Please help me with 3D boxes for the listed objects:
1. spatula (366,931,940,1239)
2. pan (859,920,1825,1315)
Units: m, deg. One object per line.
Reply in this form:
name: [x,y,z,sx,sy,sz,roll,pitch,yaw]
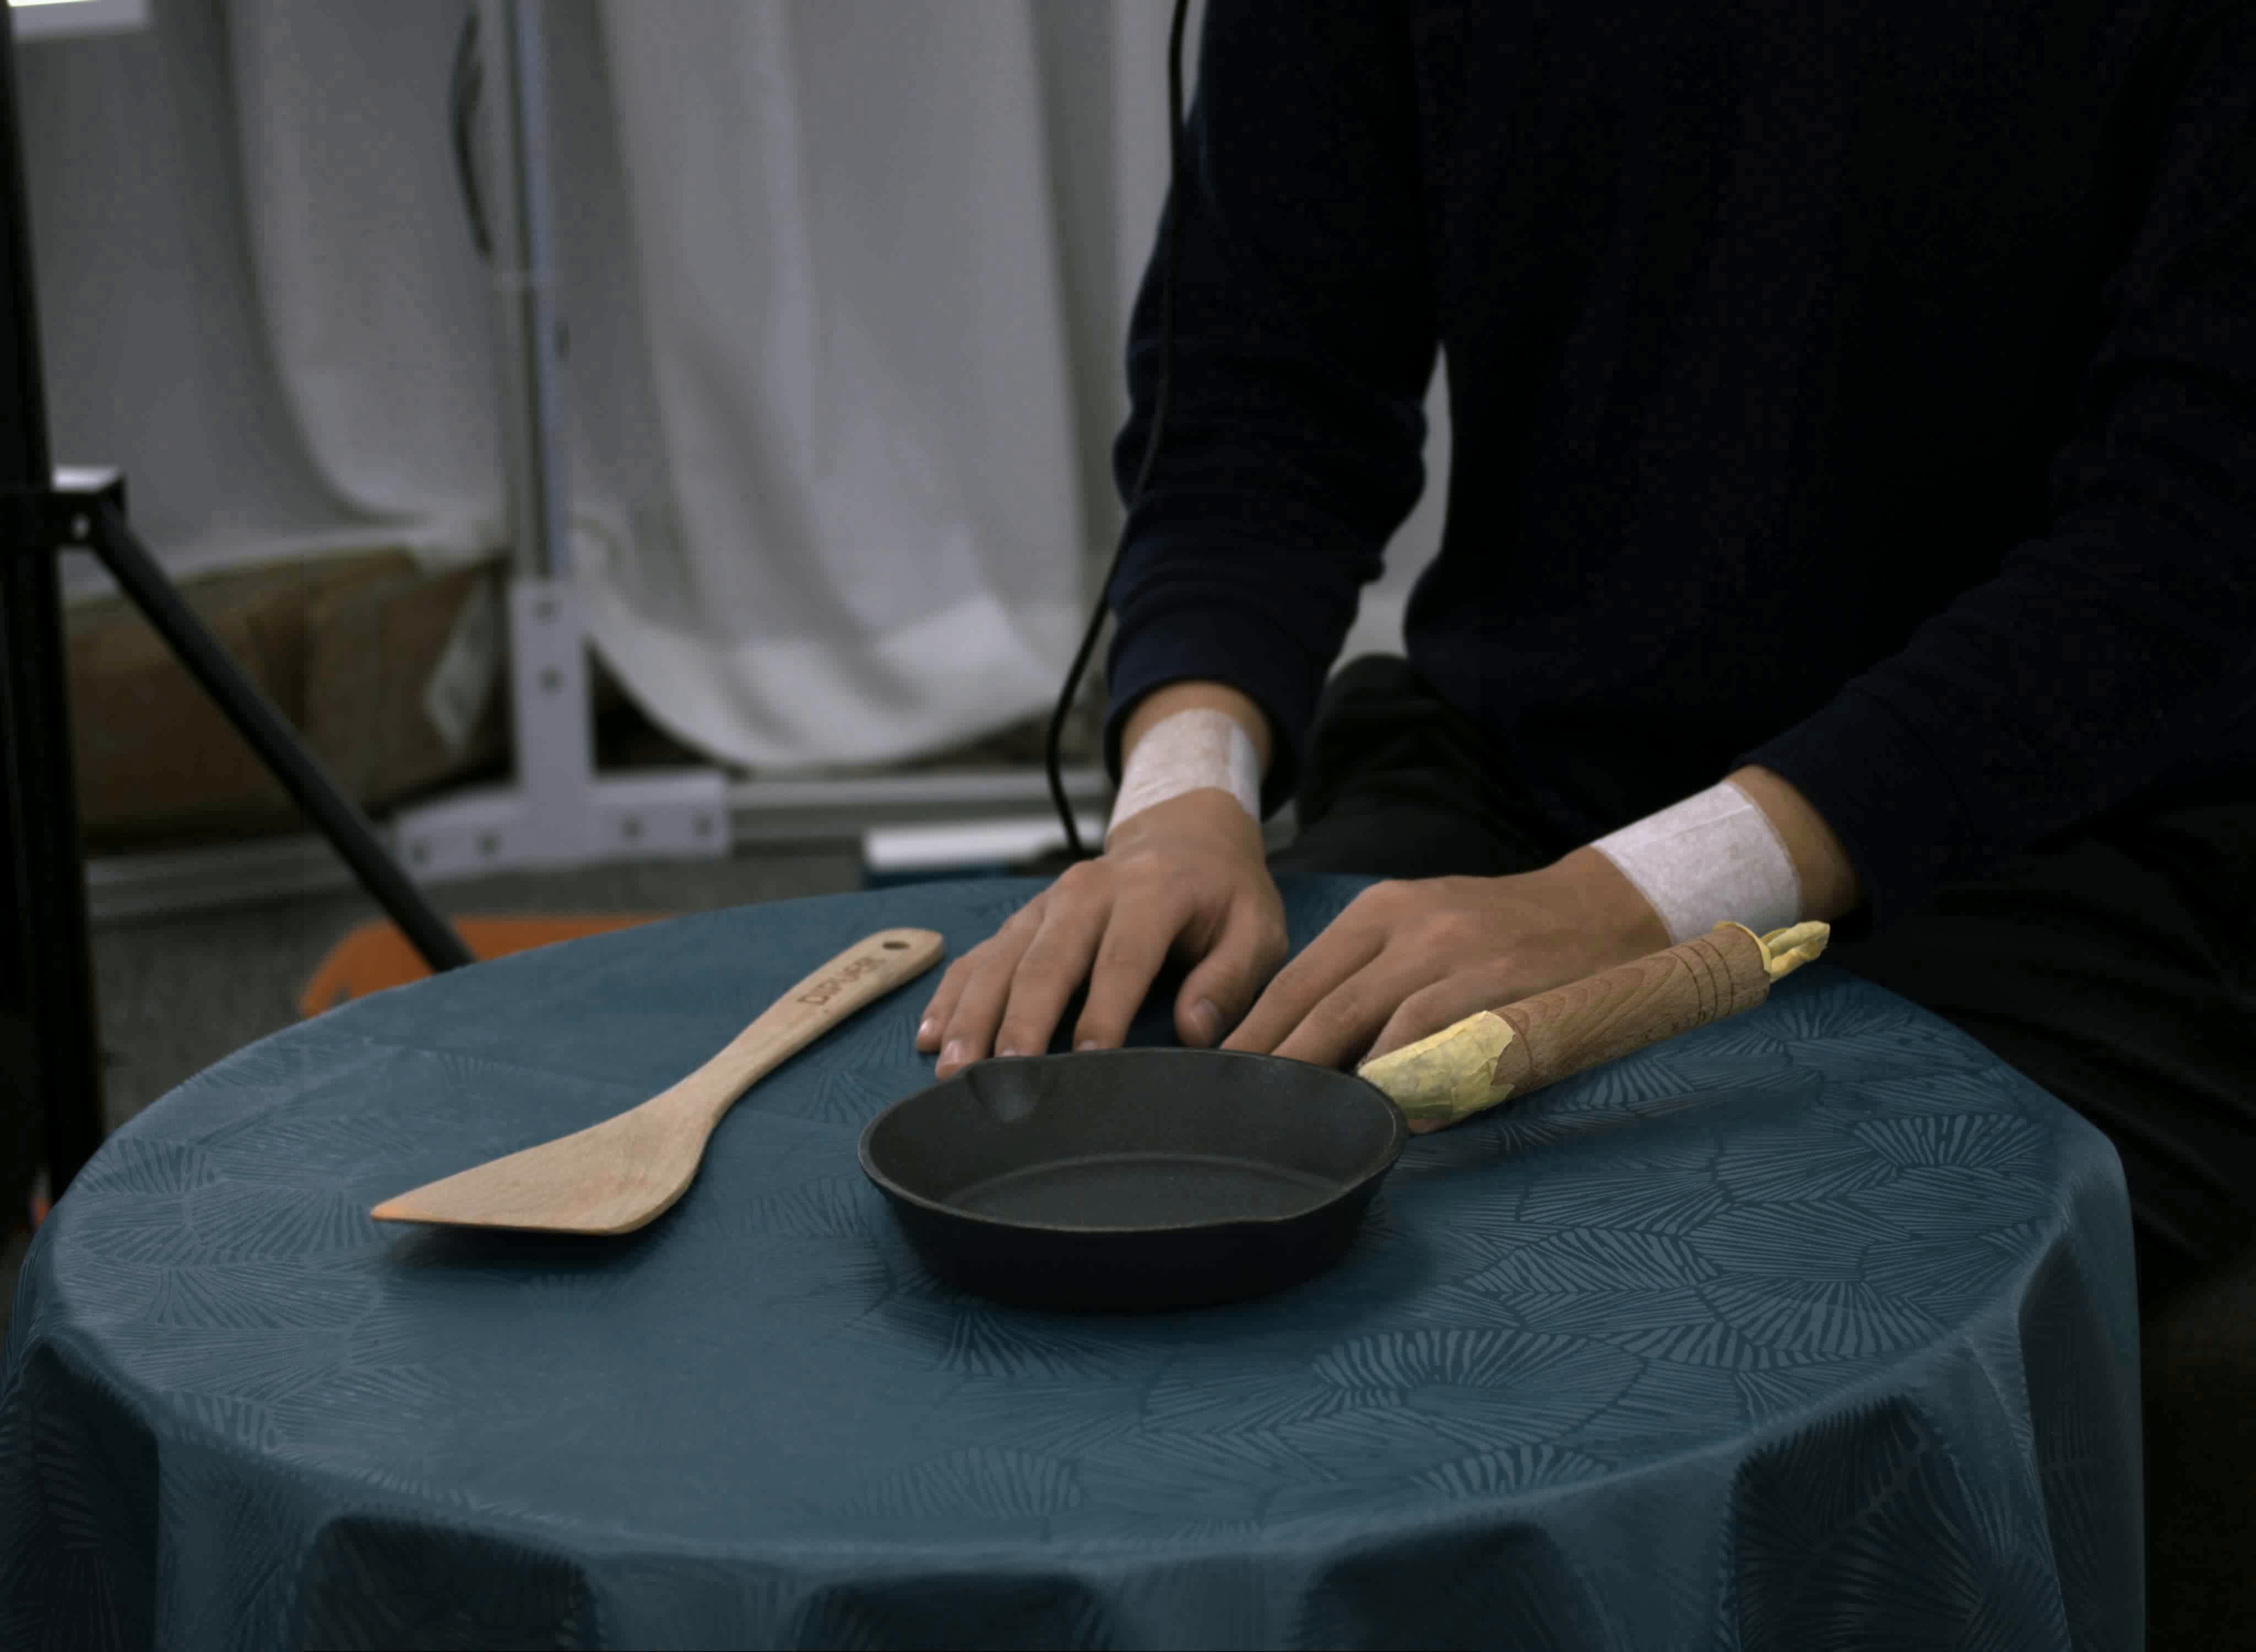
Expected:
spatula: [-0.128,0.078,1.657,0.081,0.016,0.323,4,17,21]
pan: [0.075,0.081,1.550,0.317,0.049,0.172,-12,18,-26]
